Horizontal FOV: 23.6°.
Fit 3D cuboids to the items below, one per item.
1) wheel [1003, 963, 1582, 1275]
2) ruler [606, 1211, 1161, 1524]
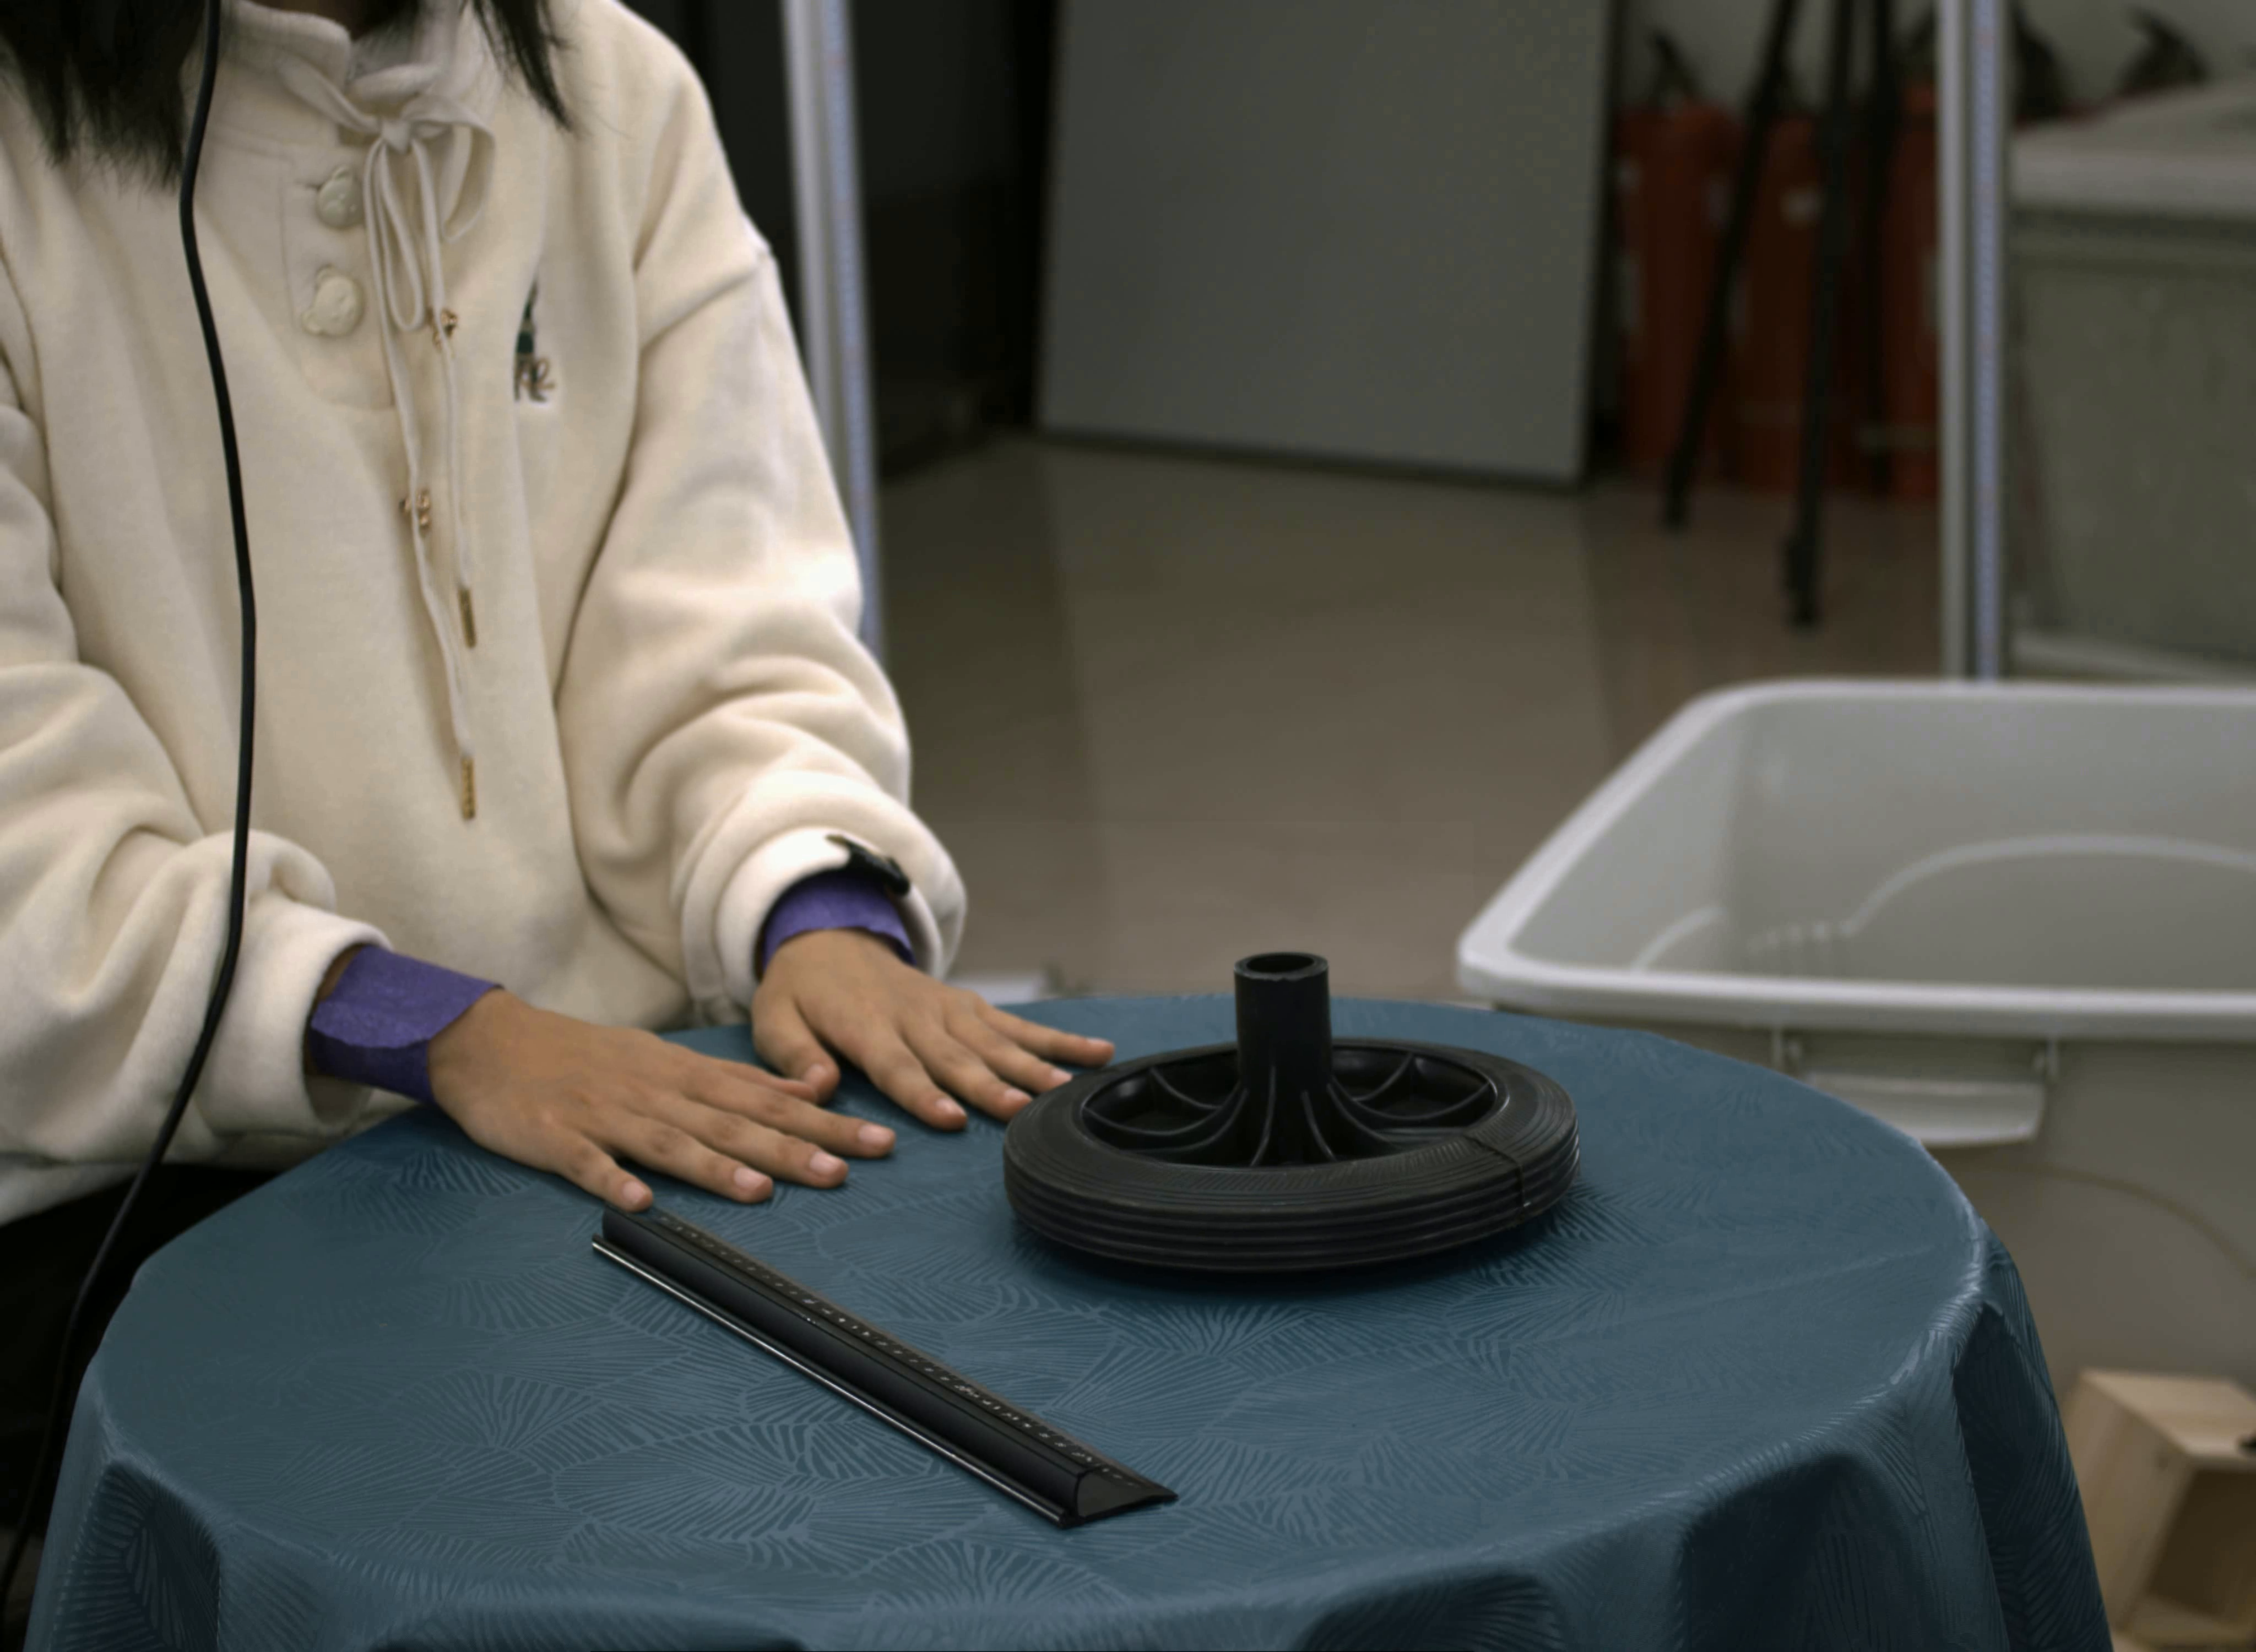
[{"bbox_3d":[0.052,0.086,1.735,0.186,0.080,0.189,-6,14,-11],"label":"wheel"},{"bbox_3d":[-0.079,0.156,1.619,0.038,0.017,0.316,-7,13,-27],"label":"ruler"}]
